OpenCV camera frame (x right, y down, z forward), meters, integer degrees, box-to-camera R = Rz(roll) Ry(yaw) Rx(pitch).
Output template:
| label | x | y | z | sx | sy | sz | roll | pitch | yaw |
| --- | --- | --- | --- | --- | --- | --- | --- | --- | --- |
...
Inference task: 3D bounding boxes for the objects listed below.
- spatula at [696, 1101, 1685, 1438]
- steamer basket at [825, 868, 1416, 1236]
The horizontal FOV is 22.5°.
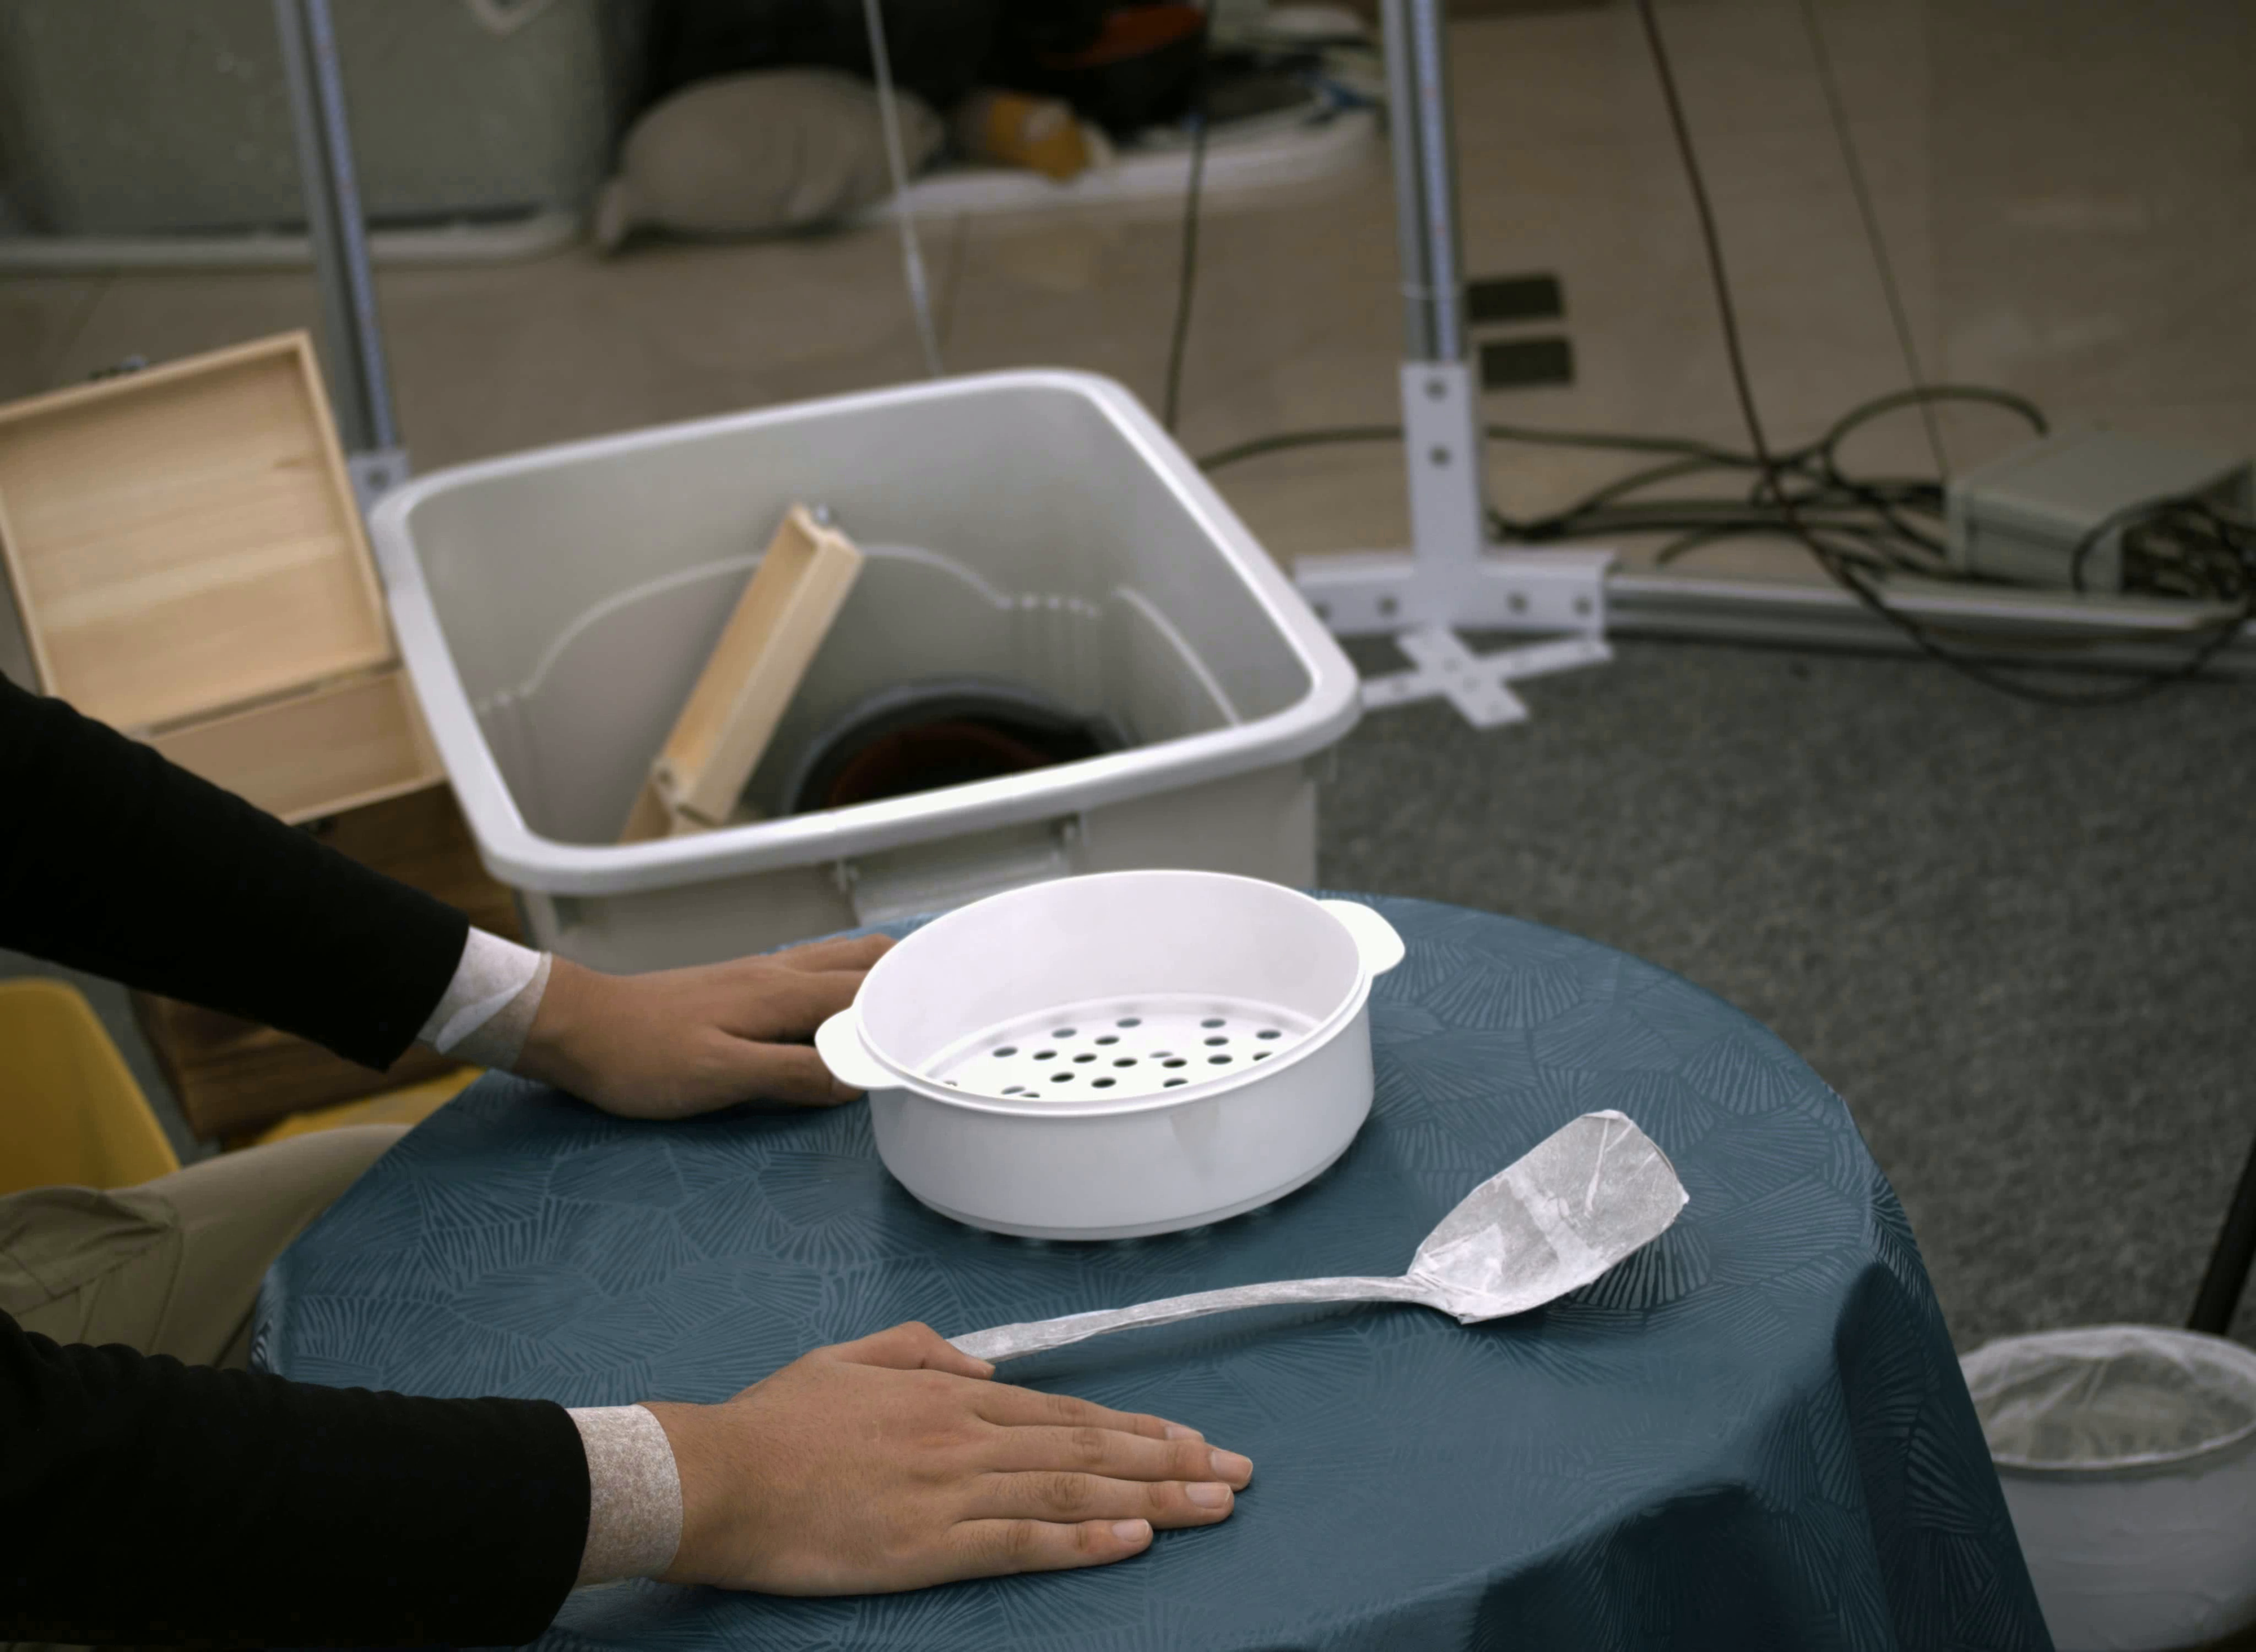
| label | x | y | z | sx | sy | sz | roll | pitch | yaw |
| --- | --- | --- | --- | --- | --- | --- | --- | --- | --- |
| spatula | 0.022 | 0.168 | 2.035 | 0.364 | 0.045 | 0.097 | -10 | 28 | -8 |
| steamer basket | 0.001 | 0.087 | 2.175 | 0.230 | 0.070 | 0.199 | -14 | 25 | -12 |
